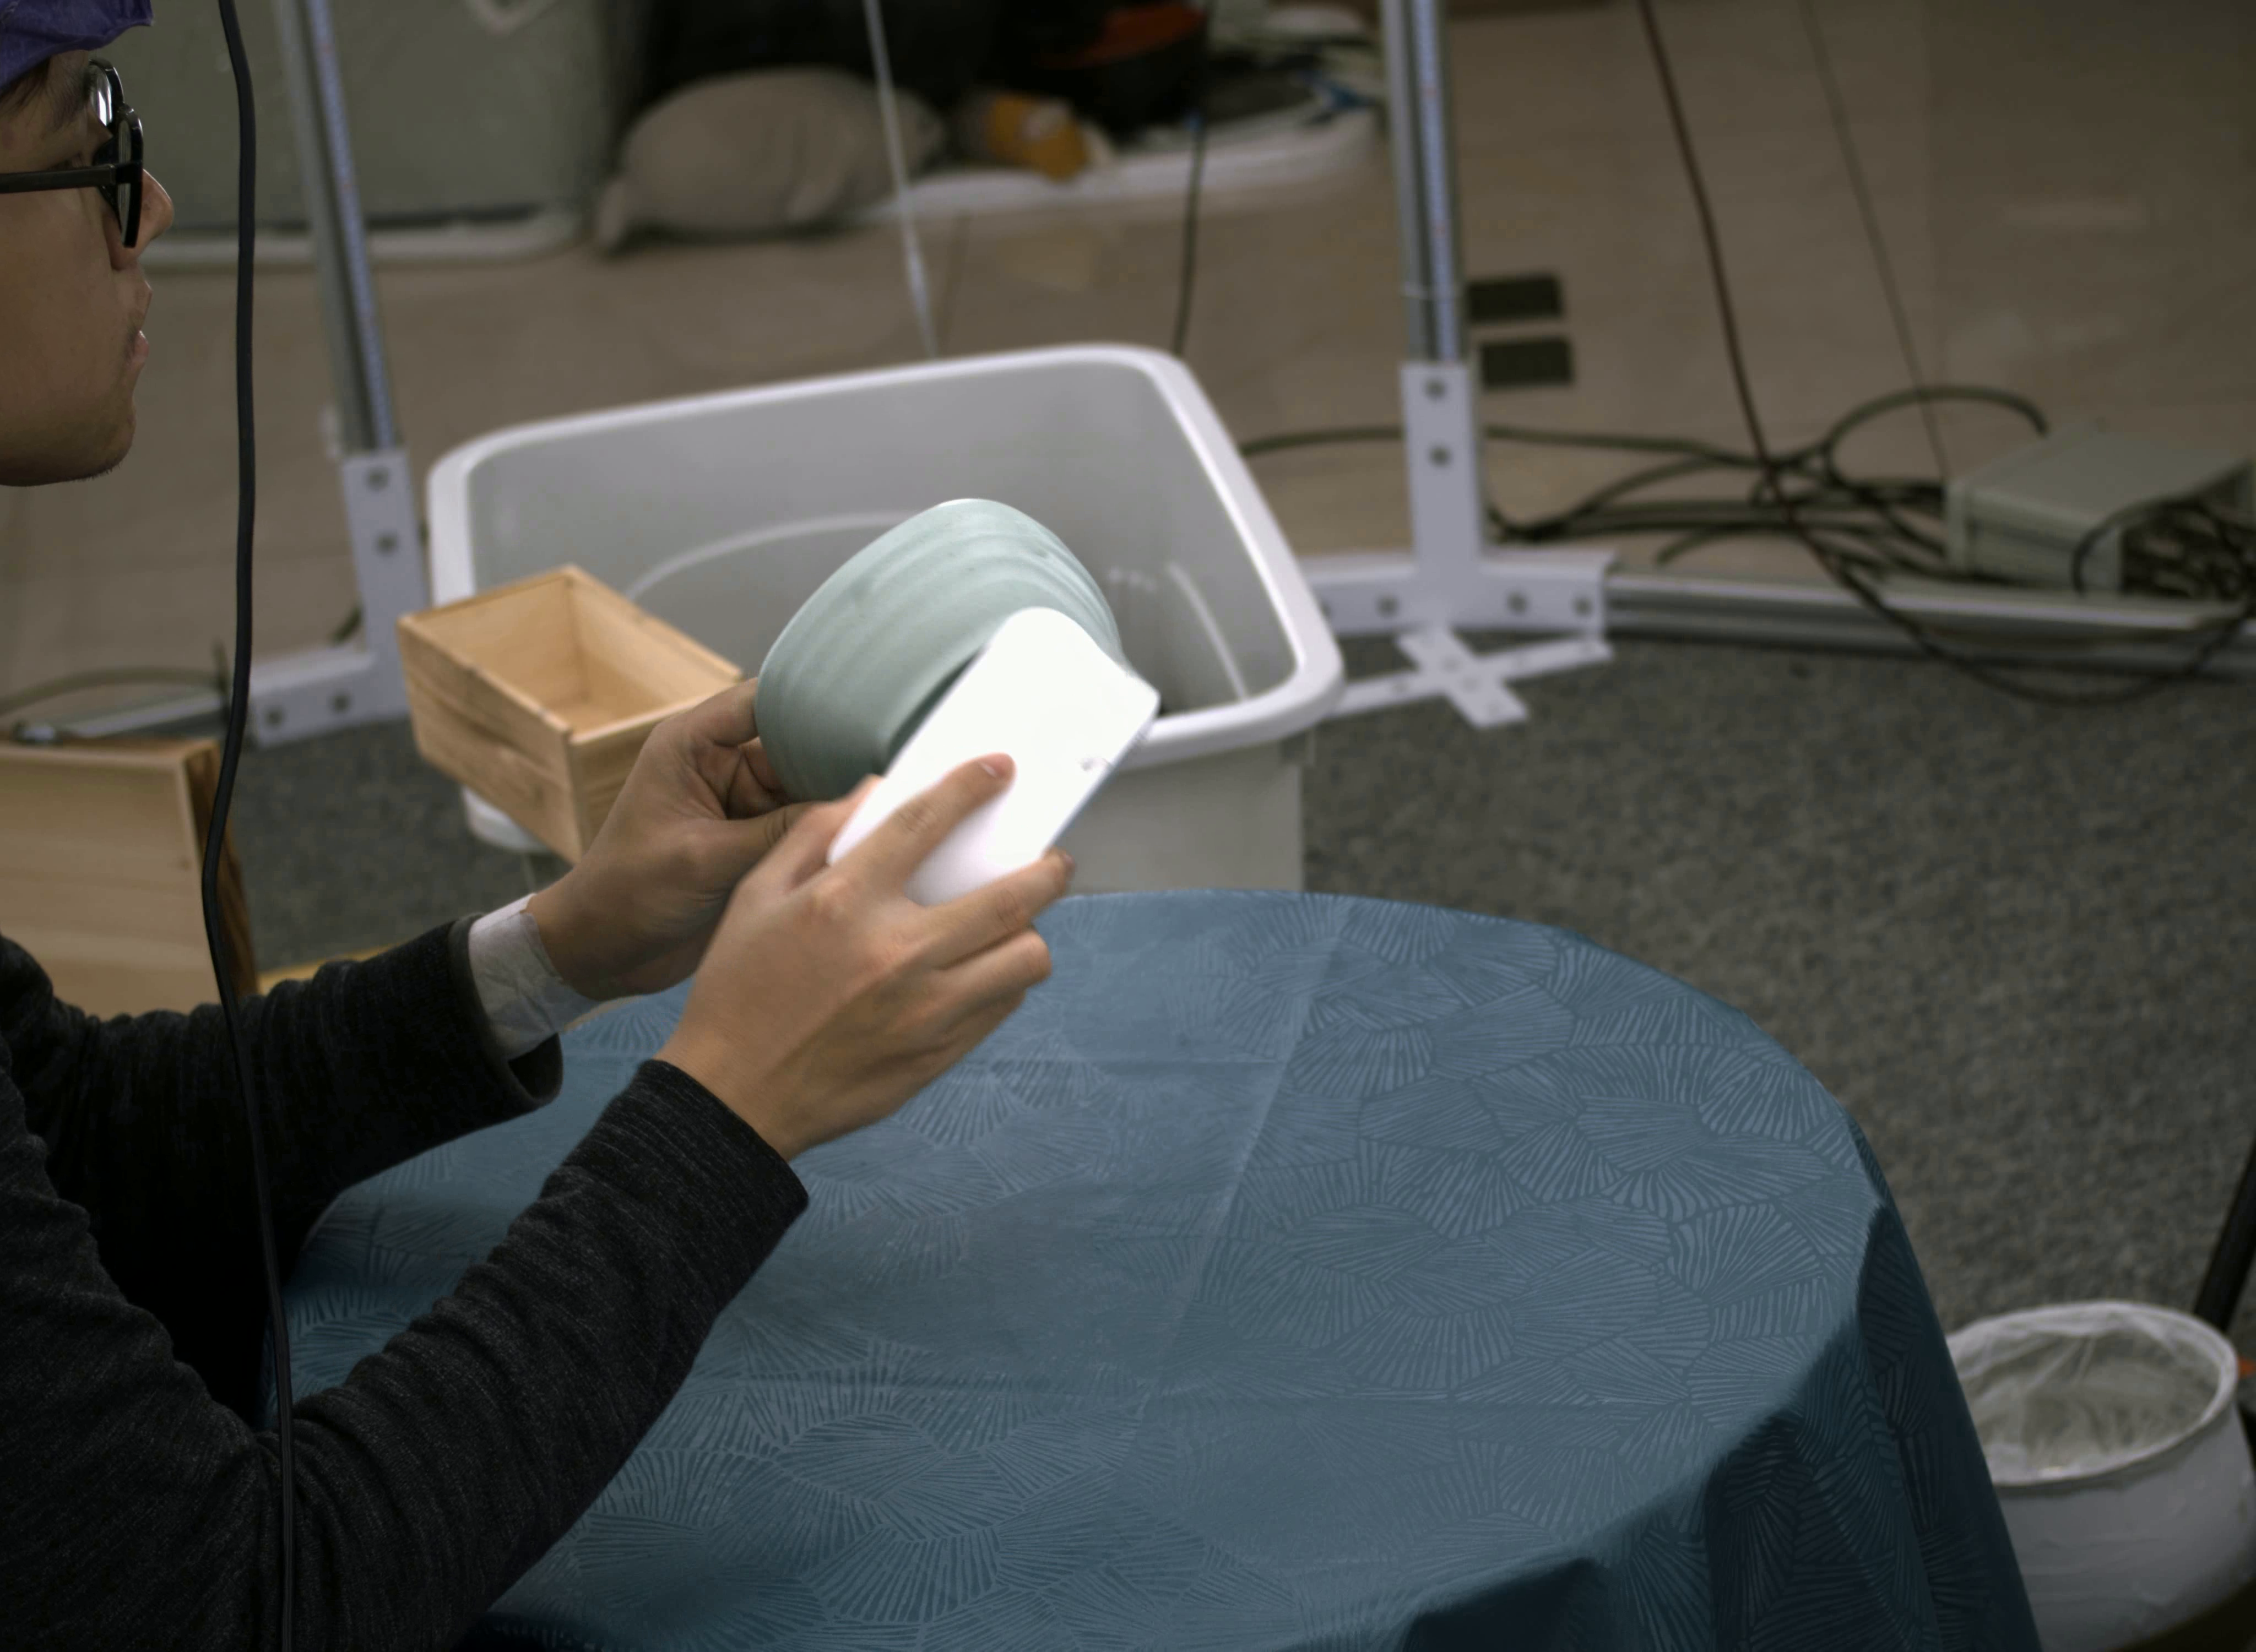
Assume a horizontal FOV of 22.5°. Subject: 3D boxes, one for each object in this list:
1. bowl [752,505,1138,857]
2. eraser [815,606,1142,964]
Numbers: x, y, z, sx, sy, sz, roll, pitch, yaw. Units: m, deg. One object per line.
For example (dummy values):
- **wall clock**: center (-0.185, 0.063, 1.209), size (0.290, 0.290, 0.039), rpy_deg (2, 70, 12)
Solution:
- **bowl**: center (-0.057, -0.038, 2.068), size (0.151, 0.154, 0.058), rpy_deg (-15, 32, -17)
- **eraser**: center (-0.053, -0.015, 1.967), size (0.063, 0.035, 0.130), rpy_deg (35, 72, 10)
